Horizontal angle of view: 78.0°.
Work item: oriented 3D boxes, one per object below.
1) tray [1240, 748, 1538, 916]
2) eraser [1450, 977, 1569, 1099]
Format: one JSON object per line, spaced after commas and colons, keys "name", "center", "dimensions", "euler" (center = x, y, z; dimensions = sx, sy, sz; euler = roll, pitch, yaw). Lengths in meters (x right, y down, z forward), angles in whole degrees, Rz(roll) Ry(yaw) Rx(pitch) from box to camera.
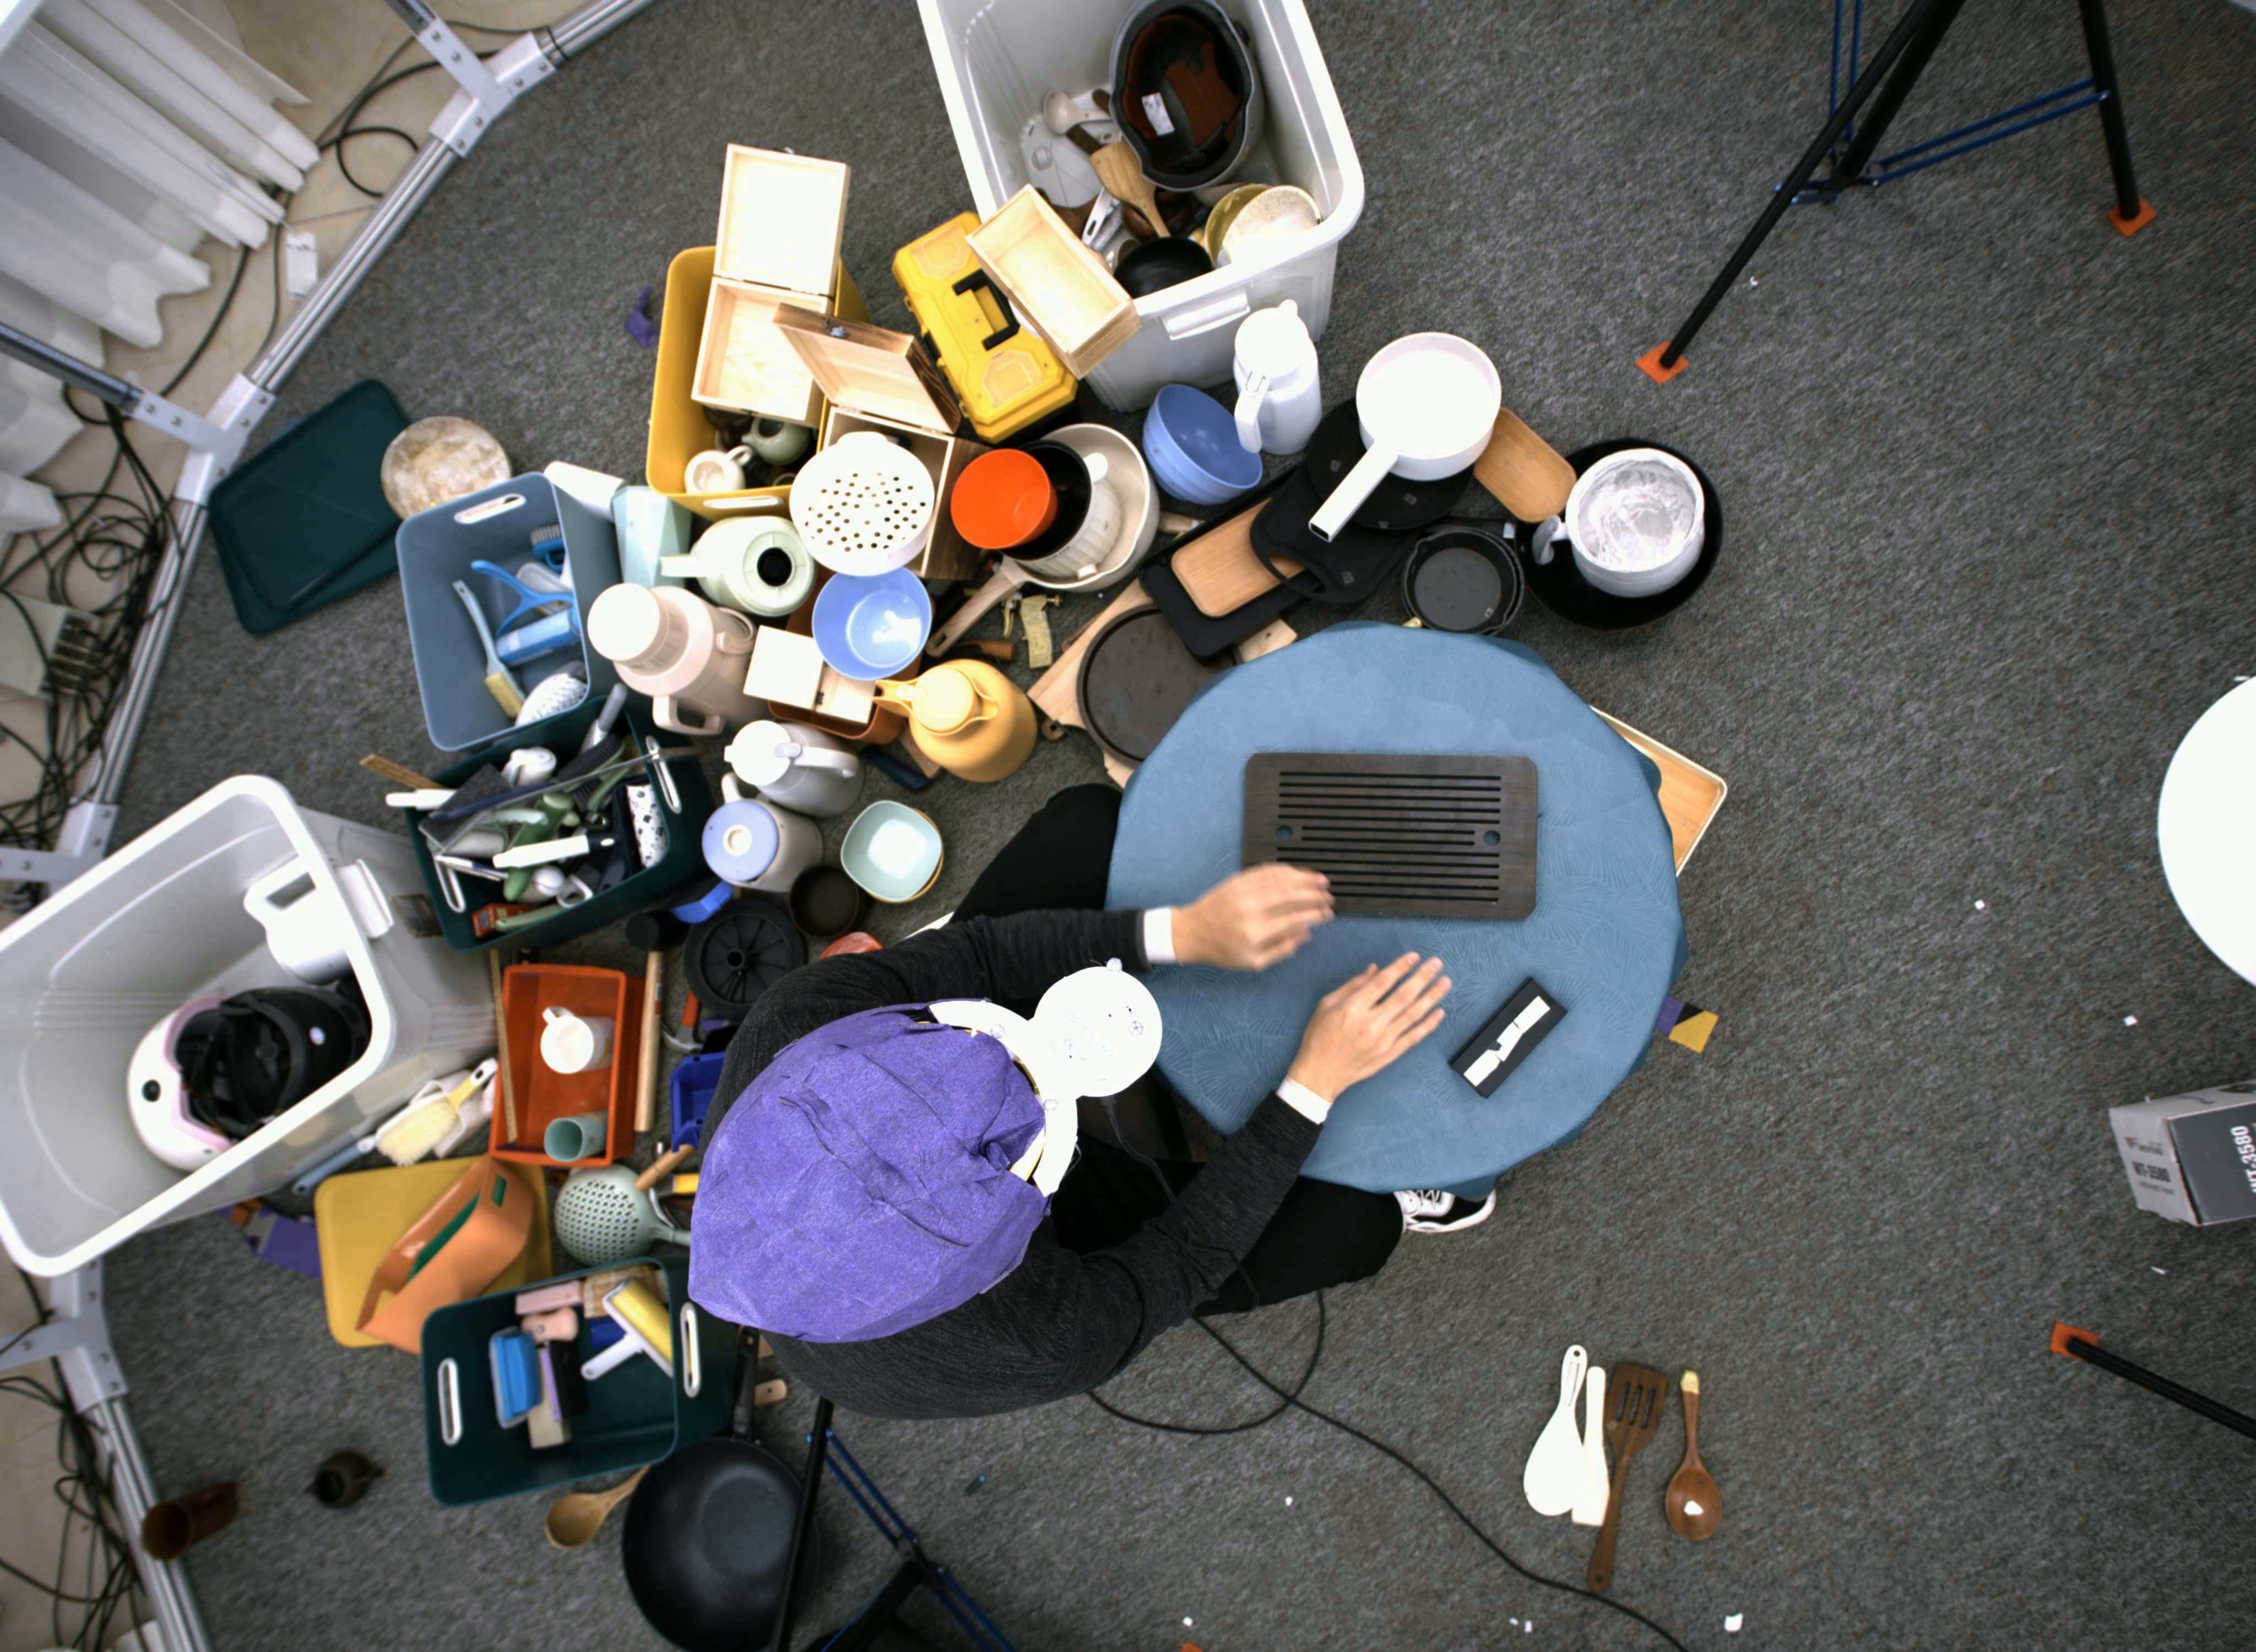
{"name": "tray", "center": [0.273, 0.003, 1.454], "dimensions": [0.307, 0.018, 0.169], "euler": [2, 87, 11]}
{"name": "eraser", "center": [0.392, 0.215, 1.415], "dimensions": [0.053, 0.030, 0.126], "euler": [43, 96, 13]}
